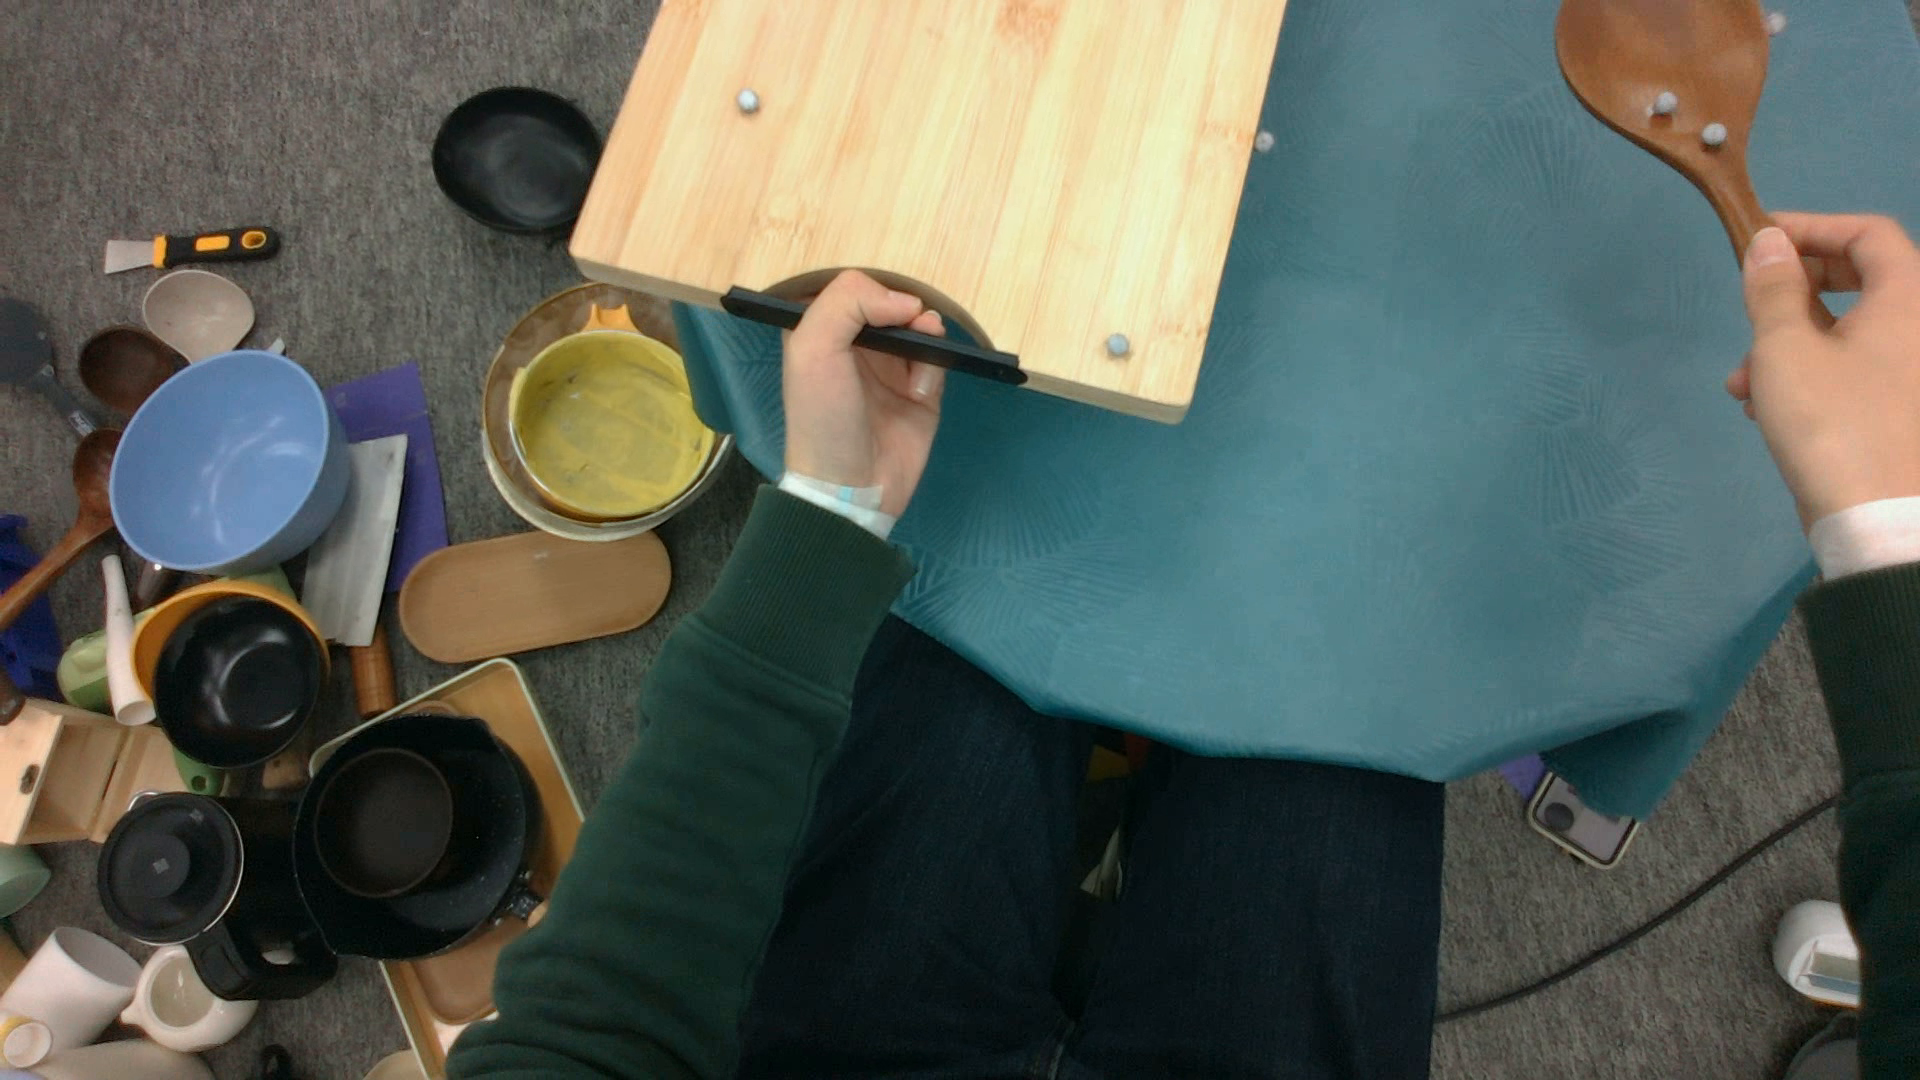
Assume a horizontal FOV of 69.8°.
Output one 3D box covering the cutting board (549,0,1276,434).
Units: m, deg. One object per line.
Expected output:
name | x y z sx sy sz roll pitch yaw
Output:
cutting board | 0.006 -0.228 0.570 0.250 0.023 0.349 13 72 4

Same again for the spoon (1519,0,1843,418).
spoon | 0.277 -0.141 0.526 0.075 0.017 0.216 -15 65 5
